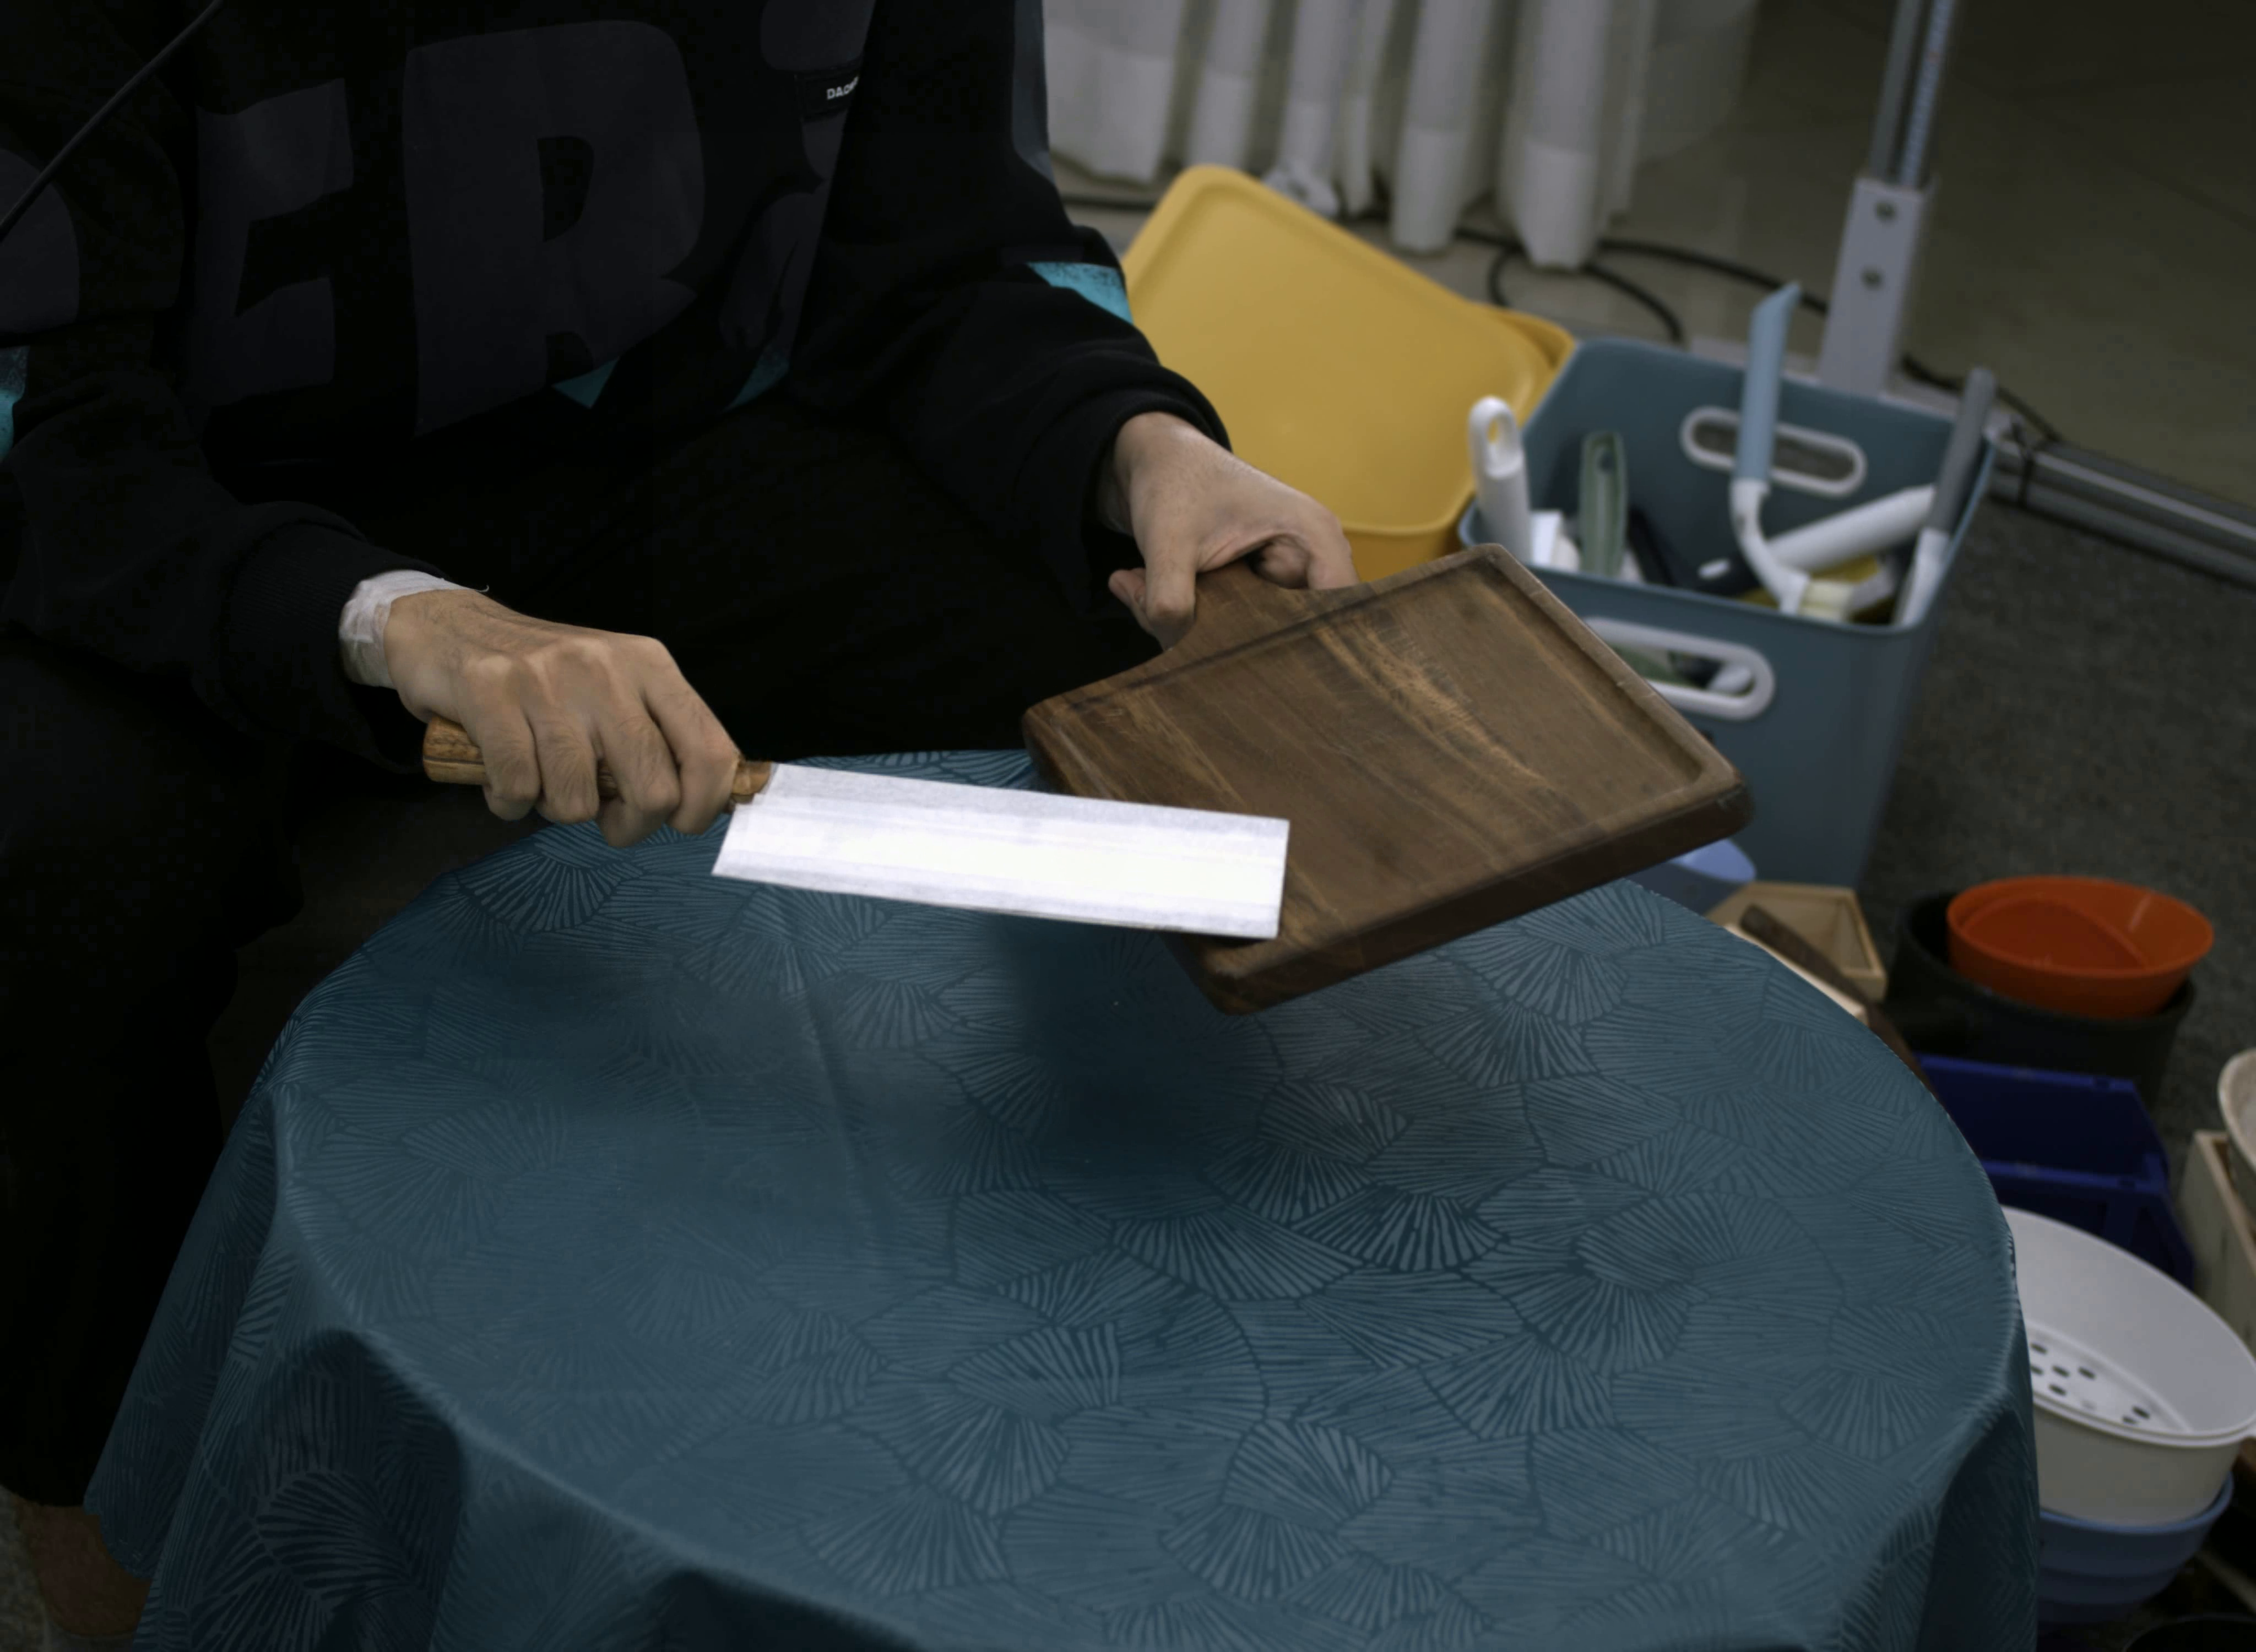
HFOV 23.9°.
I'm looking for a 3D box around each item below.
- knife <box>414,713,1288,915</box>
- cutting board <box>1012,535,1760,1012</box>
[{"bbox_3d":[-0.097,0.000,1.808,0.305,0.021,0.093,6,26,3],"label":"knife"},{"bbox_3d":[0.070,-0.040,1.916,0.200,0.023,0.355,-20,26,-10],"label":"cutting board"}]
